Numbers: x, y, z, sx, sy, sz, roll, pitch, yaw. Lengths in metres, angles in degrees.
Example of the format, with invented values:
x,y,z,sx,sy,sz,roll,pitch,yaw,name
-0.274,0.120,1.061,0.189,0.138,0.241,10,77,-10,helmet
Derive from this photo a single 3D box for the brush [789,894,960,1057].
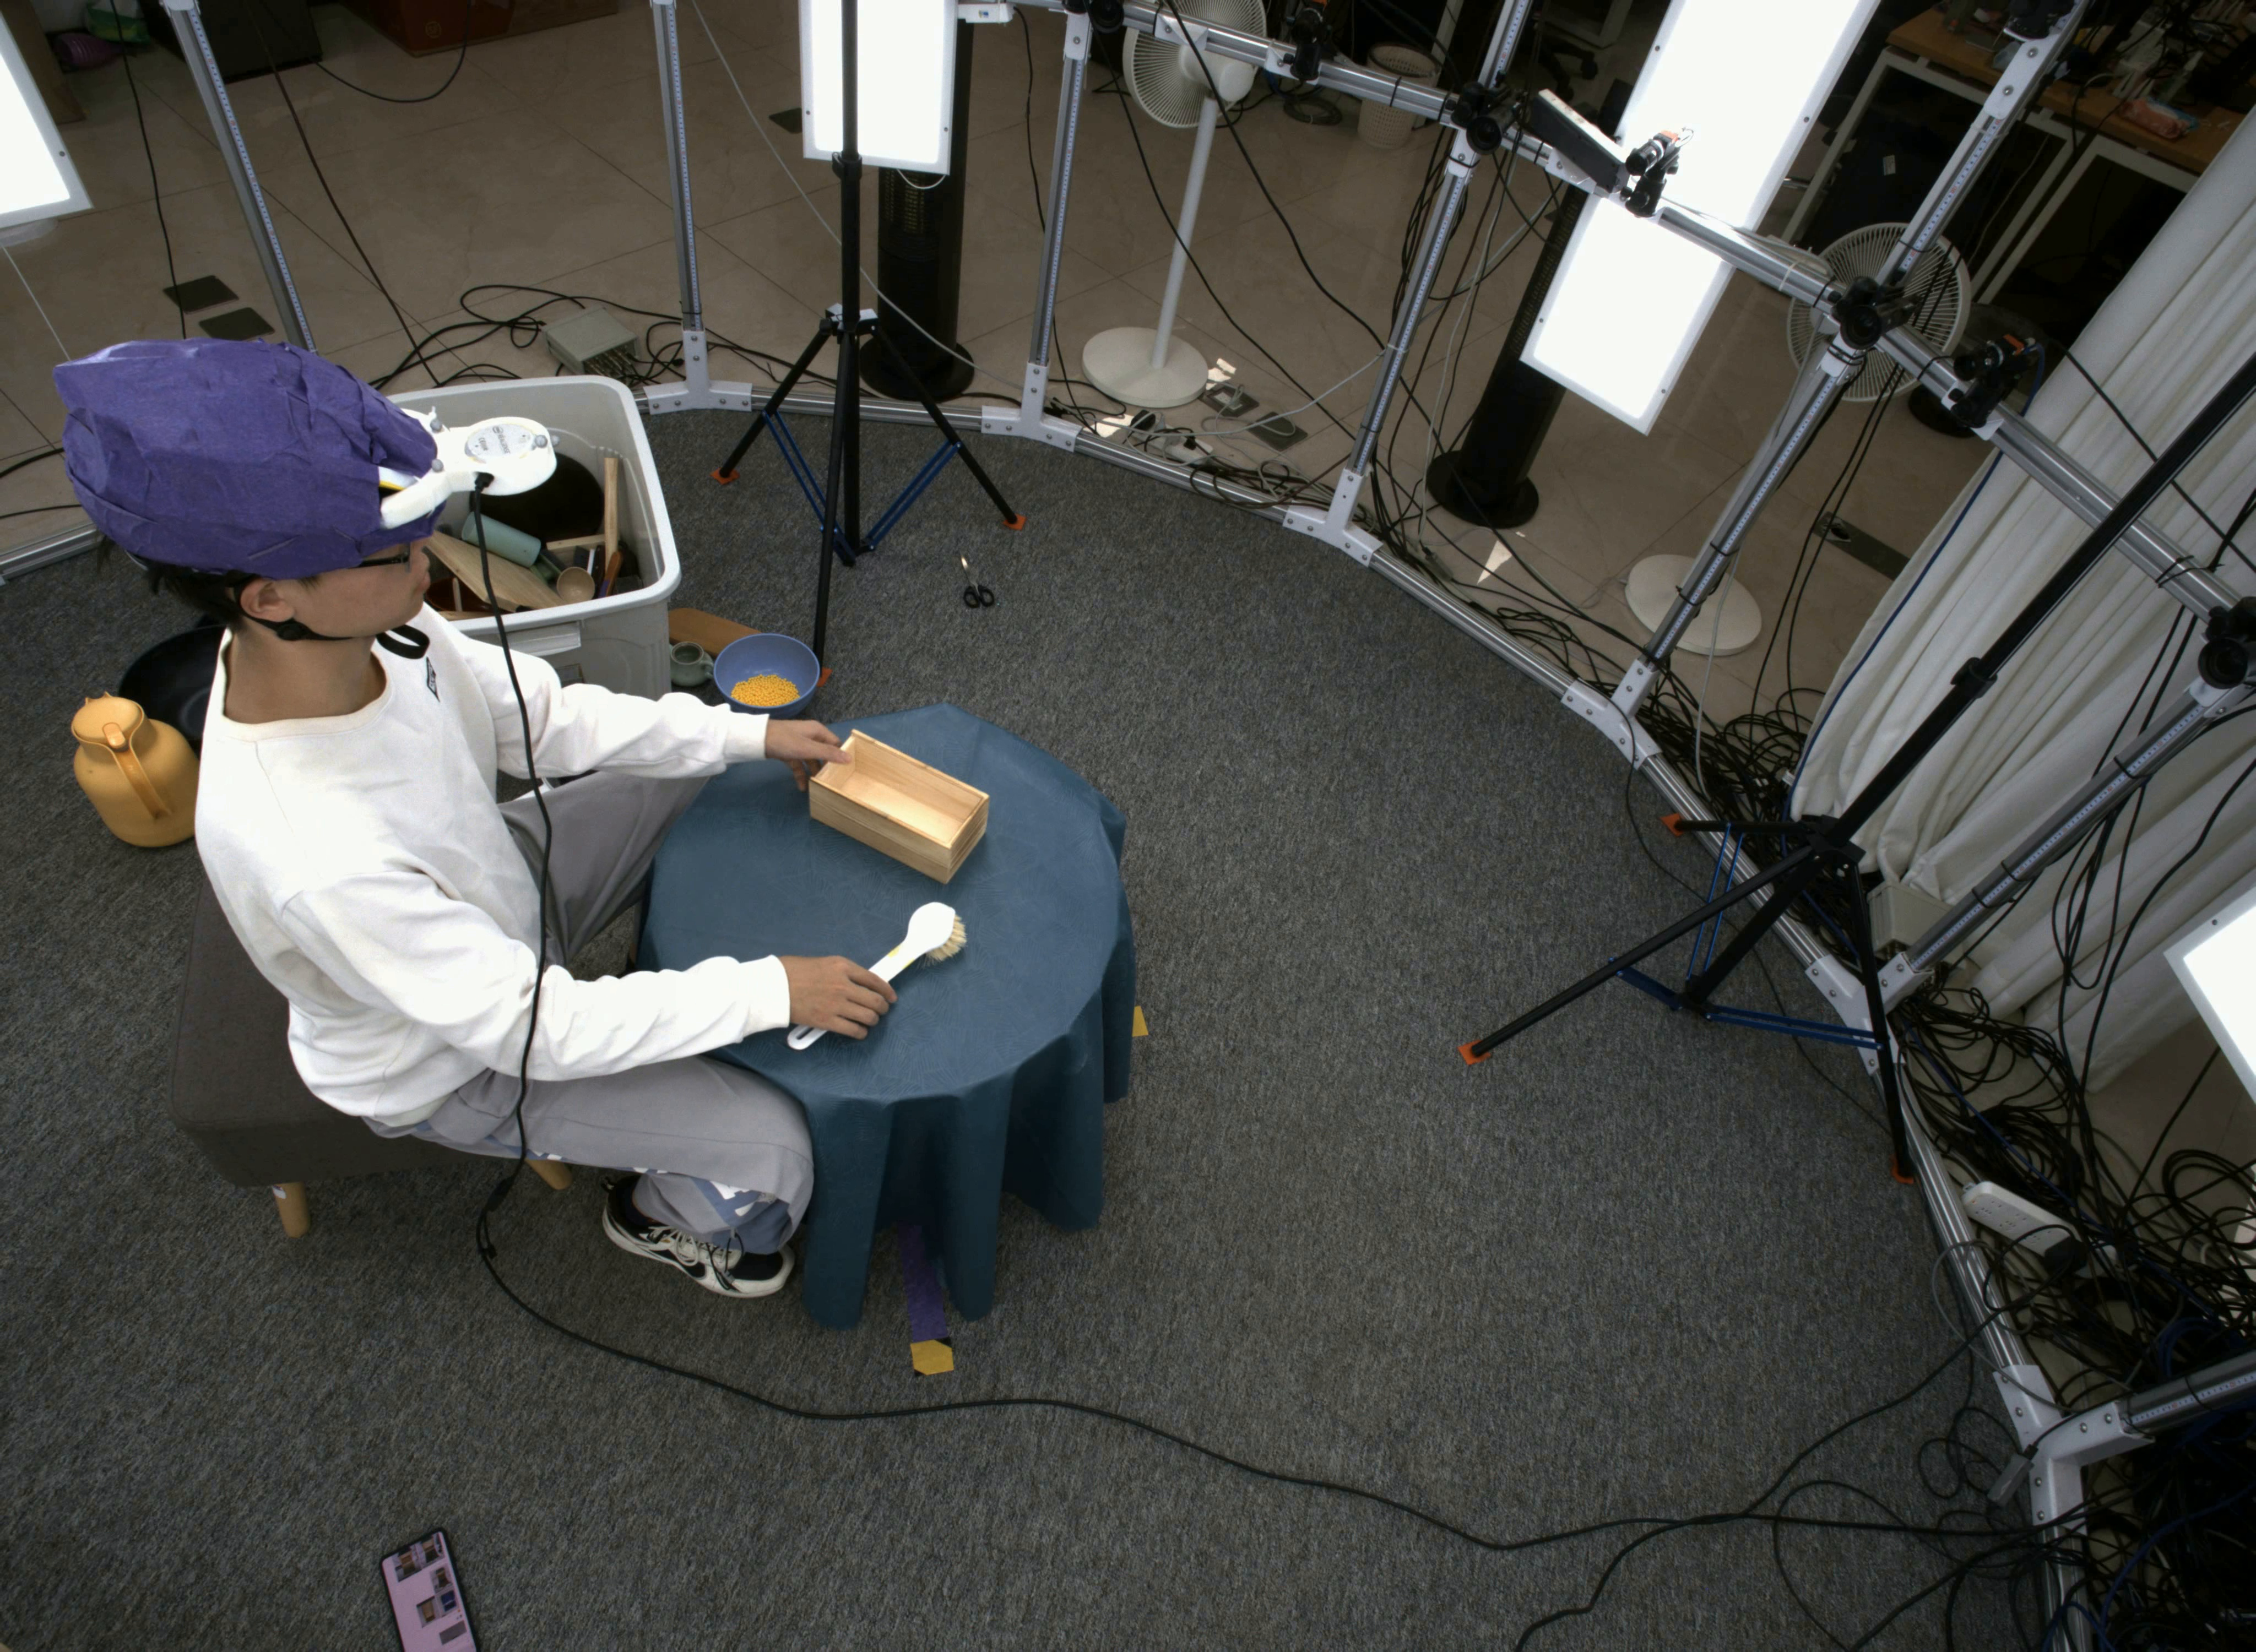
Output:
x,y,z,sx,sy,sz,roll,pitch,yaw,name
-0.312,0.191,1.608,0.066,0.058,0.266,30,66,31,brush

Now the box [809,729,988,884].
x,y,z,sx,sy,sz,roll,pitch,yaw,name
-0.304,-0.027,1.732,0.208,0.082,0.107,26,53,7,box
